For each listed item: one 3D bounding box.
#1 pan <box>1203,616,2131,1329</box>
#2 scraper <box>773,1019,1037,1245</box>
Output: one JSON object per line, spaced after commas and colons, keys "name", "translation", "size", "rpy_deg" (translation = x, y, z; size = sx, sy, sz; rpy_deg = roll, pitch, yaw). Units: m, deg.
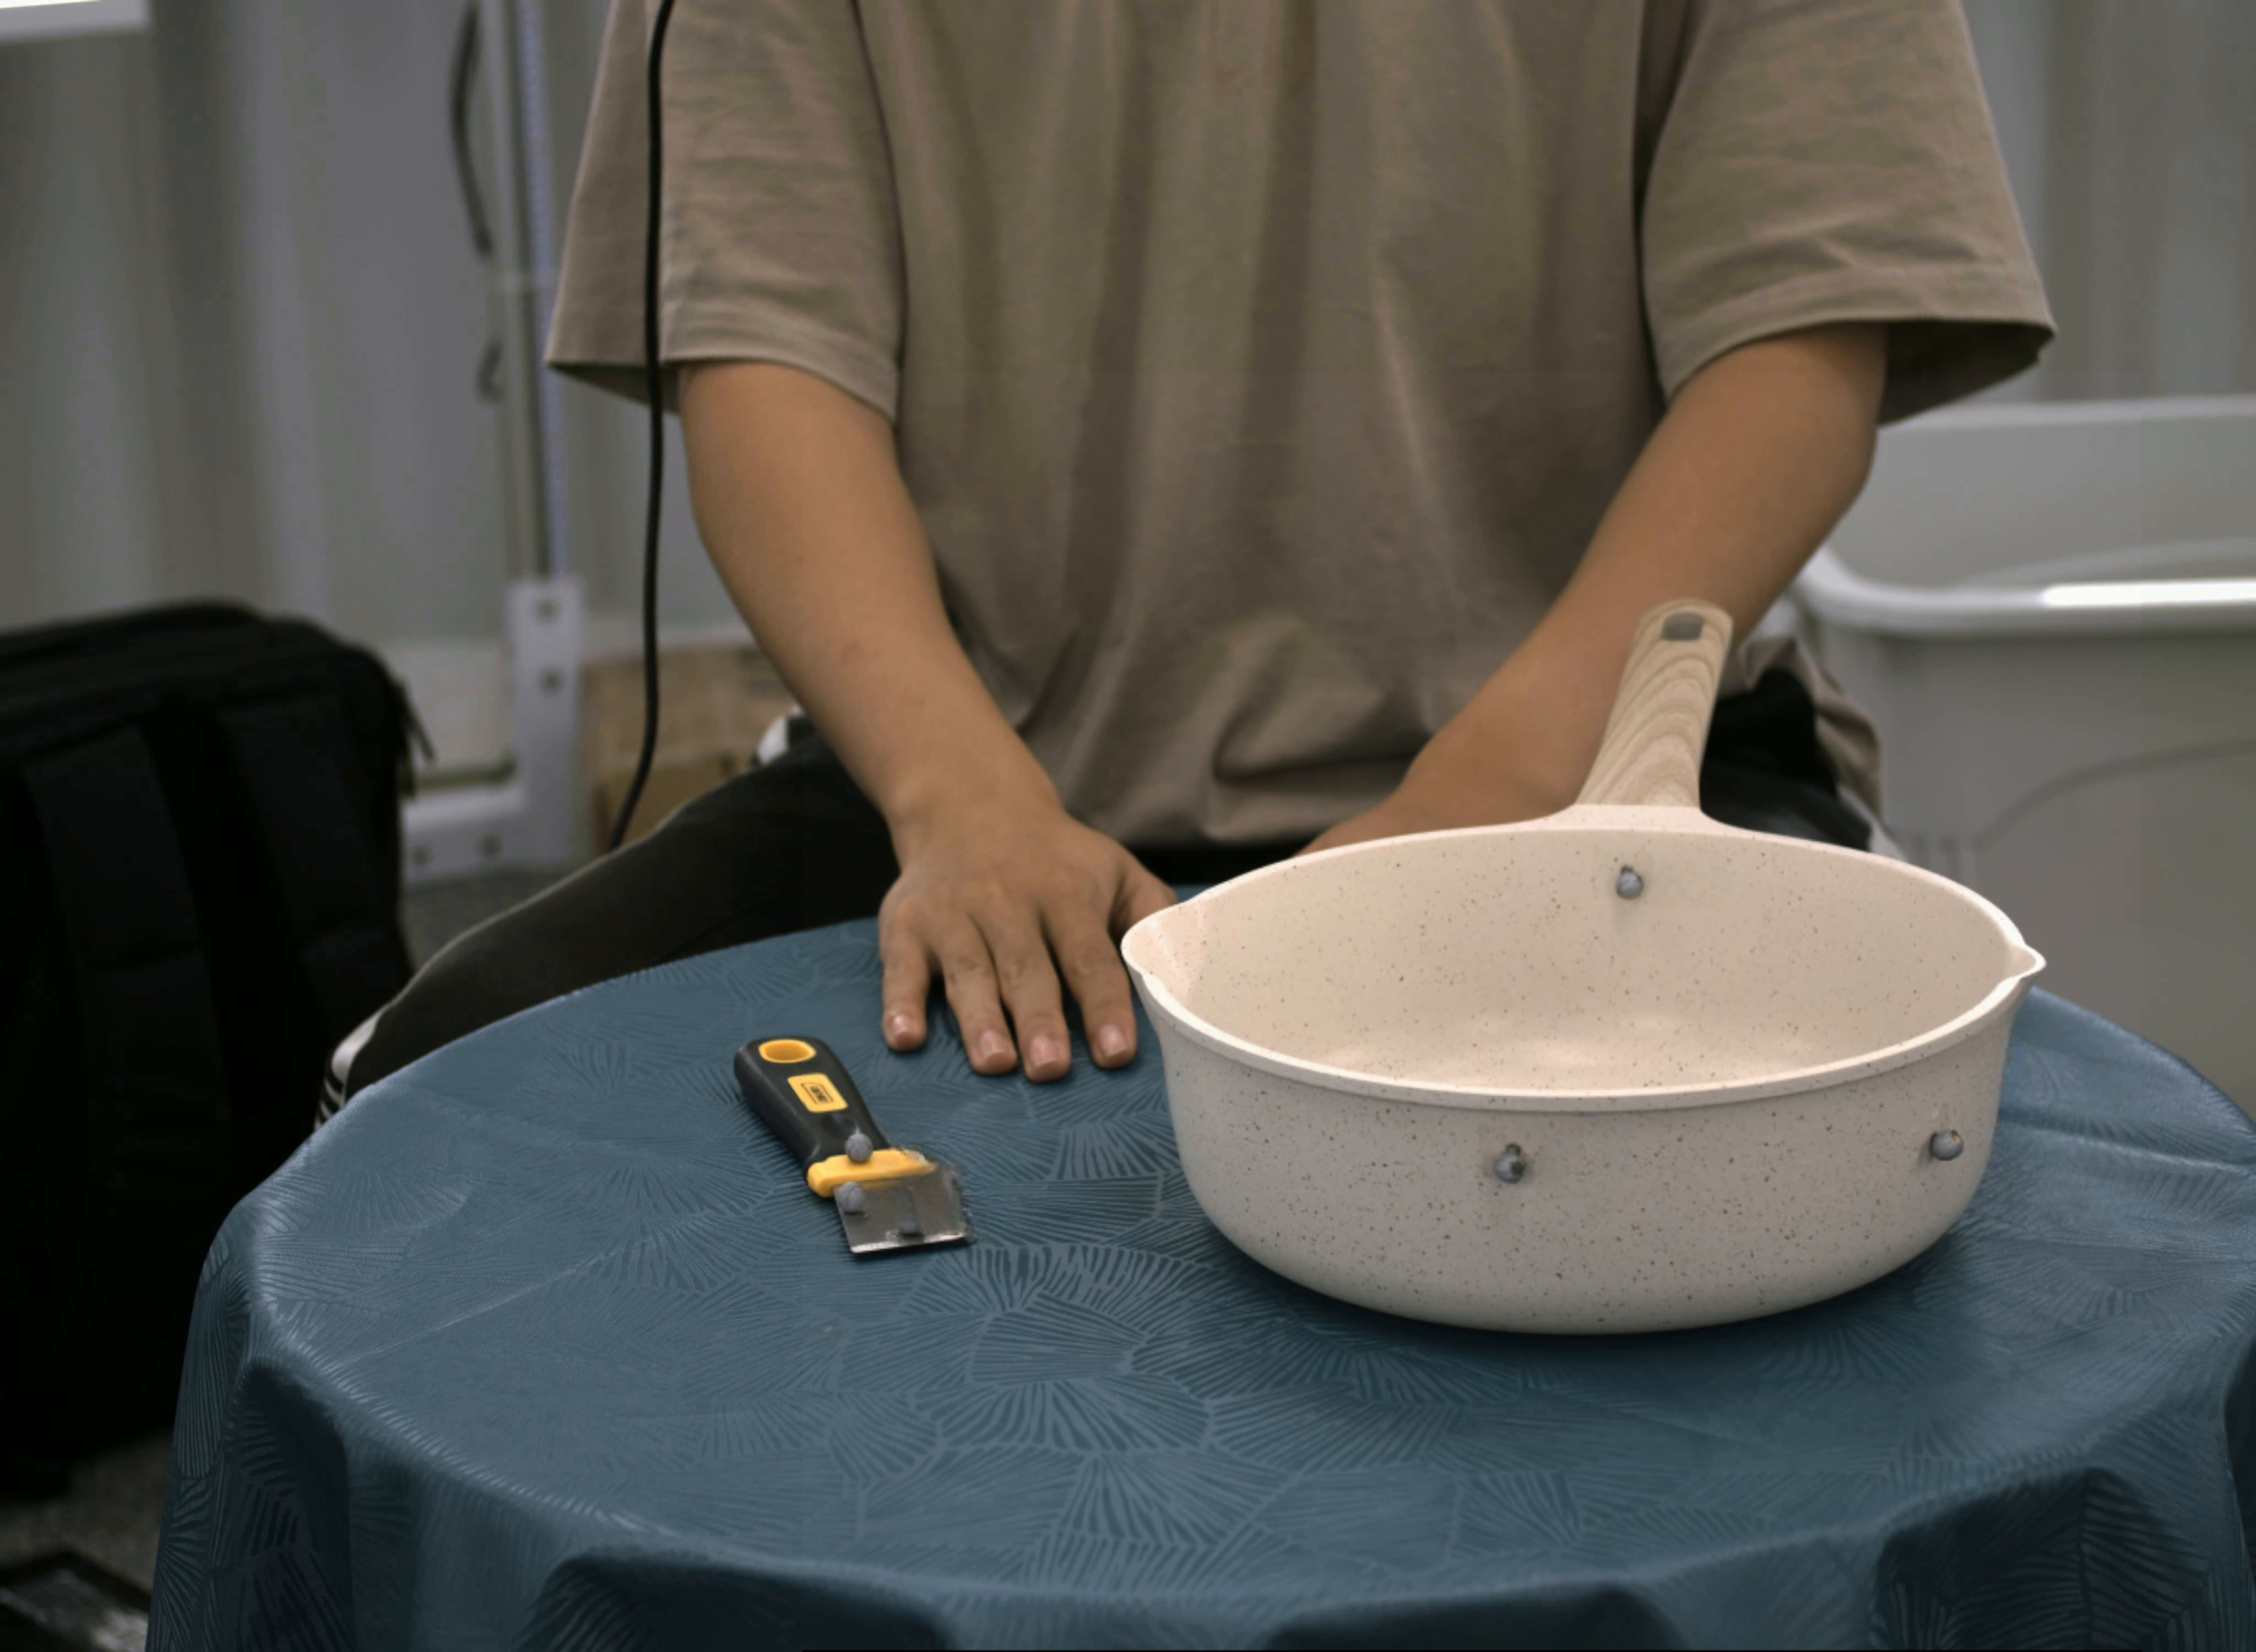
{"name": "pan", "translation": [0.171, 0.040, 1.590], "size": [0.265, 0.102, 0.432], "rpy_deg": [-1, 16, 12]}
{"name": "scraper", "translation": [-0.071, 0.090, 1.586], "size": [0.038, 0.015, 0.174], "rpy_deg": [-13, 21, -16]}
